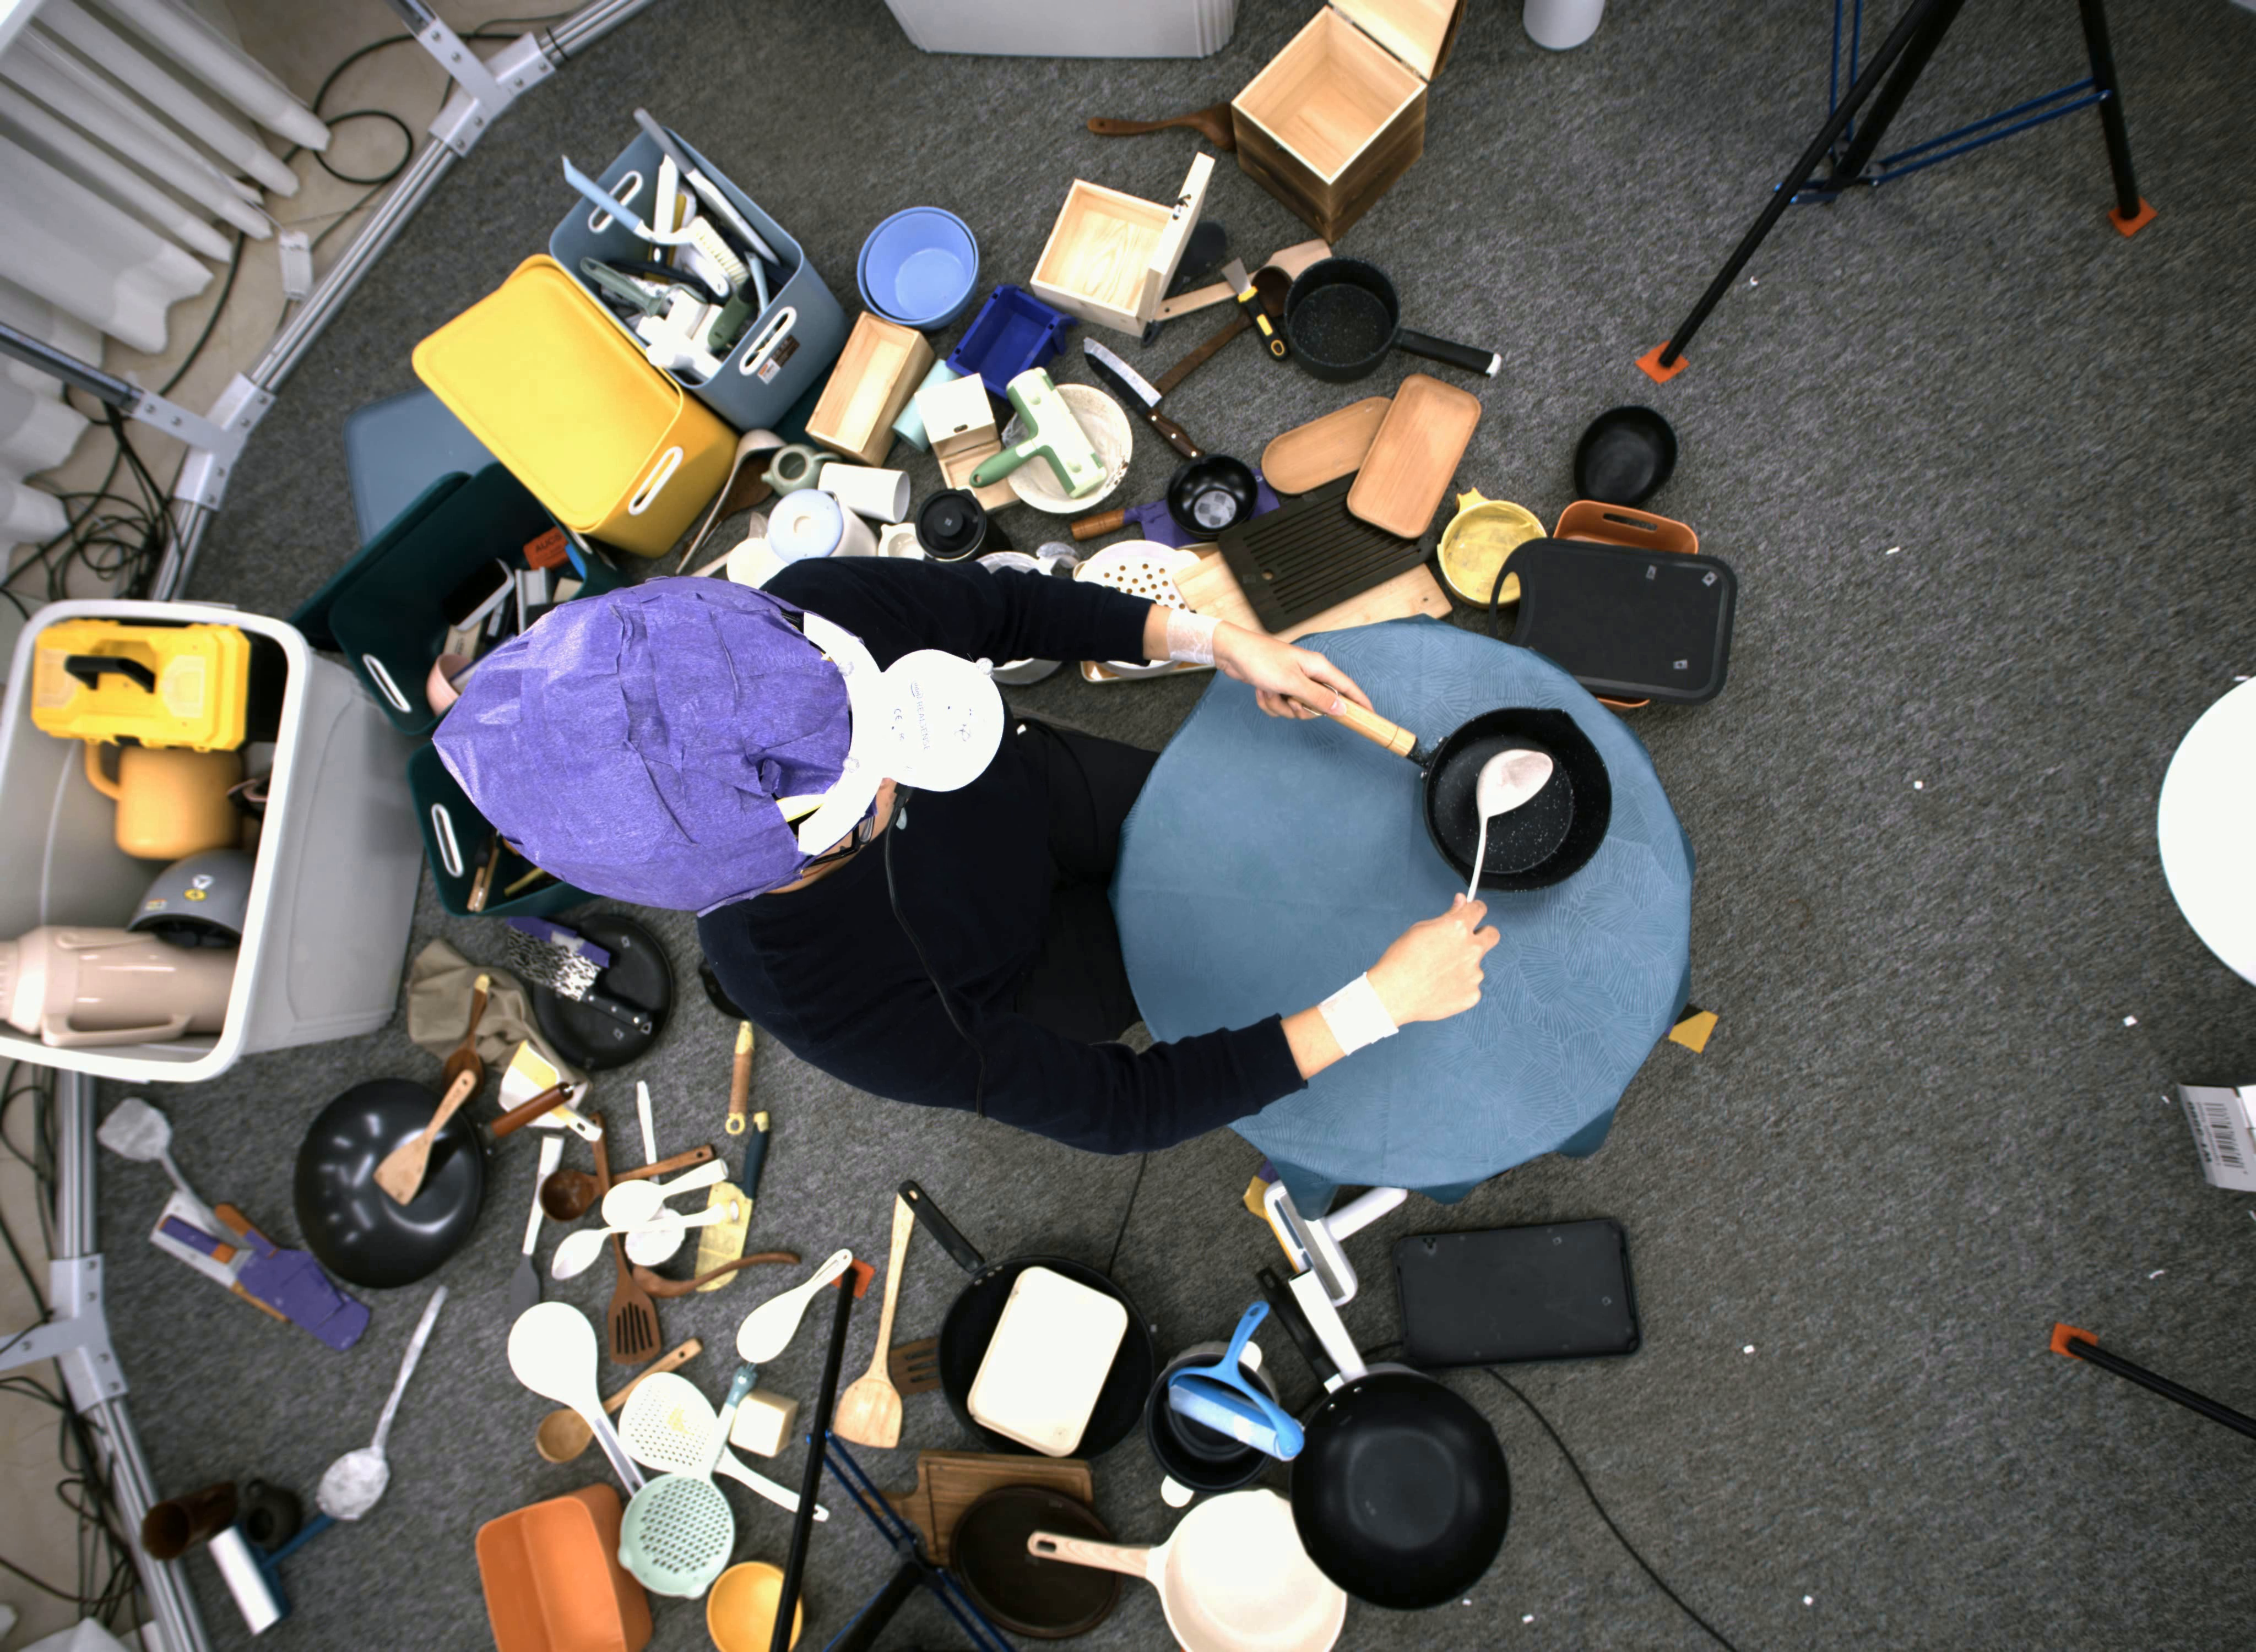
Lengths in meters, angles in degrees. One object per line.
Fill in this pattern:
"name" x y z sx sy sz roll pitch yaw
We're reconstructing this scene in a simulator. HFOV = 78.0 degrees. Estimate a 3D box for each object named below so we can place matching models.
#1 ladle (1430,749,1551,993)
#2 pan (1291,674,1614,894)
"ladle" 0.347 0.043 1.304 0.069 0.091 0.268 14 61 12
"pan" 0.317 -0.062 1.388 0.343 0.108 0.208 26 93 3
